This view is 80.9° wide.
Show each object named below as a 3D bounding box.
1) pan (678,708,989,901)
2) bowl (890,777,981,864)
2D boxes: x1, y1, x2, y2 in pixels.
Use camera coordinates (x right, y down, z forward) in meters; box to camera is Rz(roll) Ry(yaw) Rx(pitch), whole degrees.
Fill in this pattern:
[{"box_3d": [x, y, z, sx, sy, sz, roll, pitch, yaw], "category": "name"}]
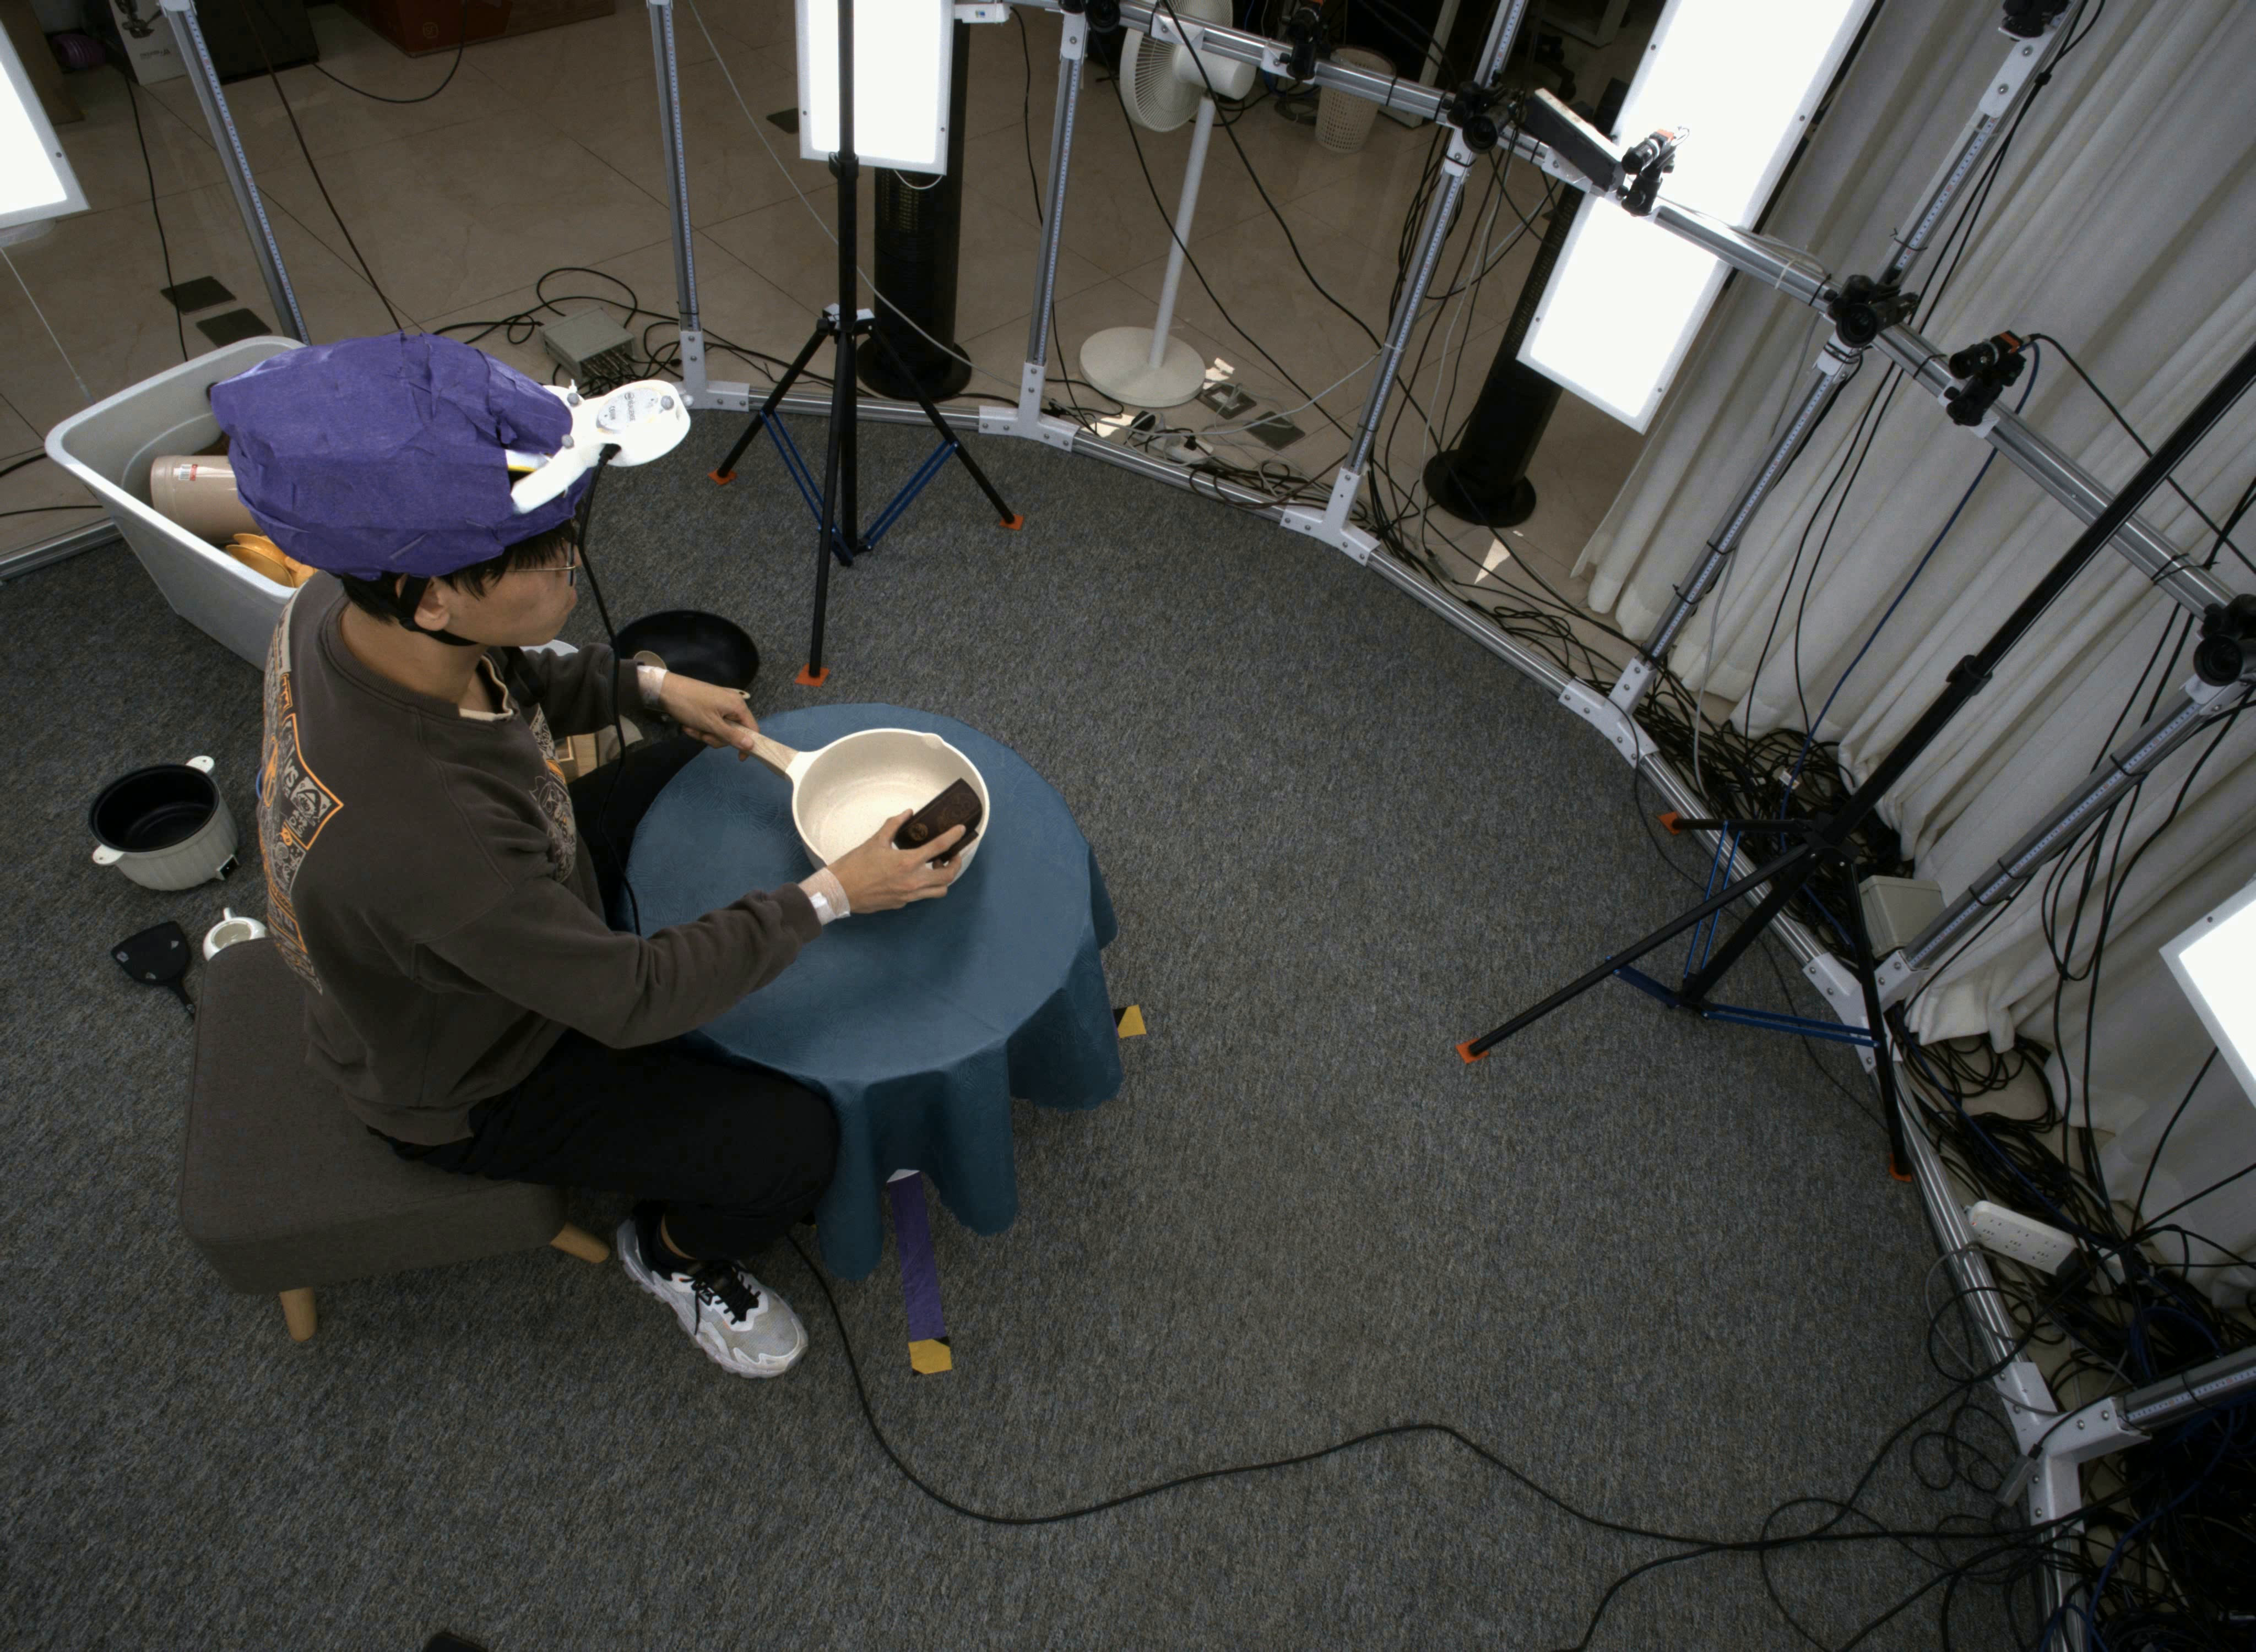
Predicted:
[{"box_3d": [-0.394, -0.048, 1.719, 0.429, 0.104, 0.261, 21, 54, 3], "category": "pan"}, {"box_3d": [-0.230, 0.001, 1.615, 0.071, 0.116, 0.118, 49, 55, -7], "category": "bowl"}]
